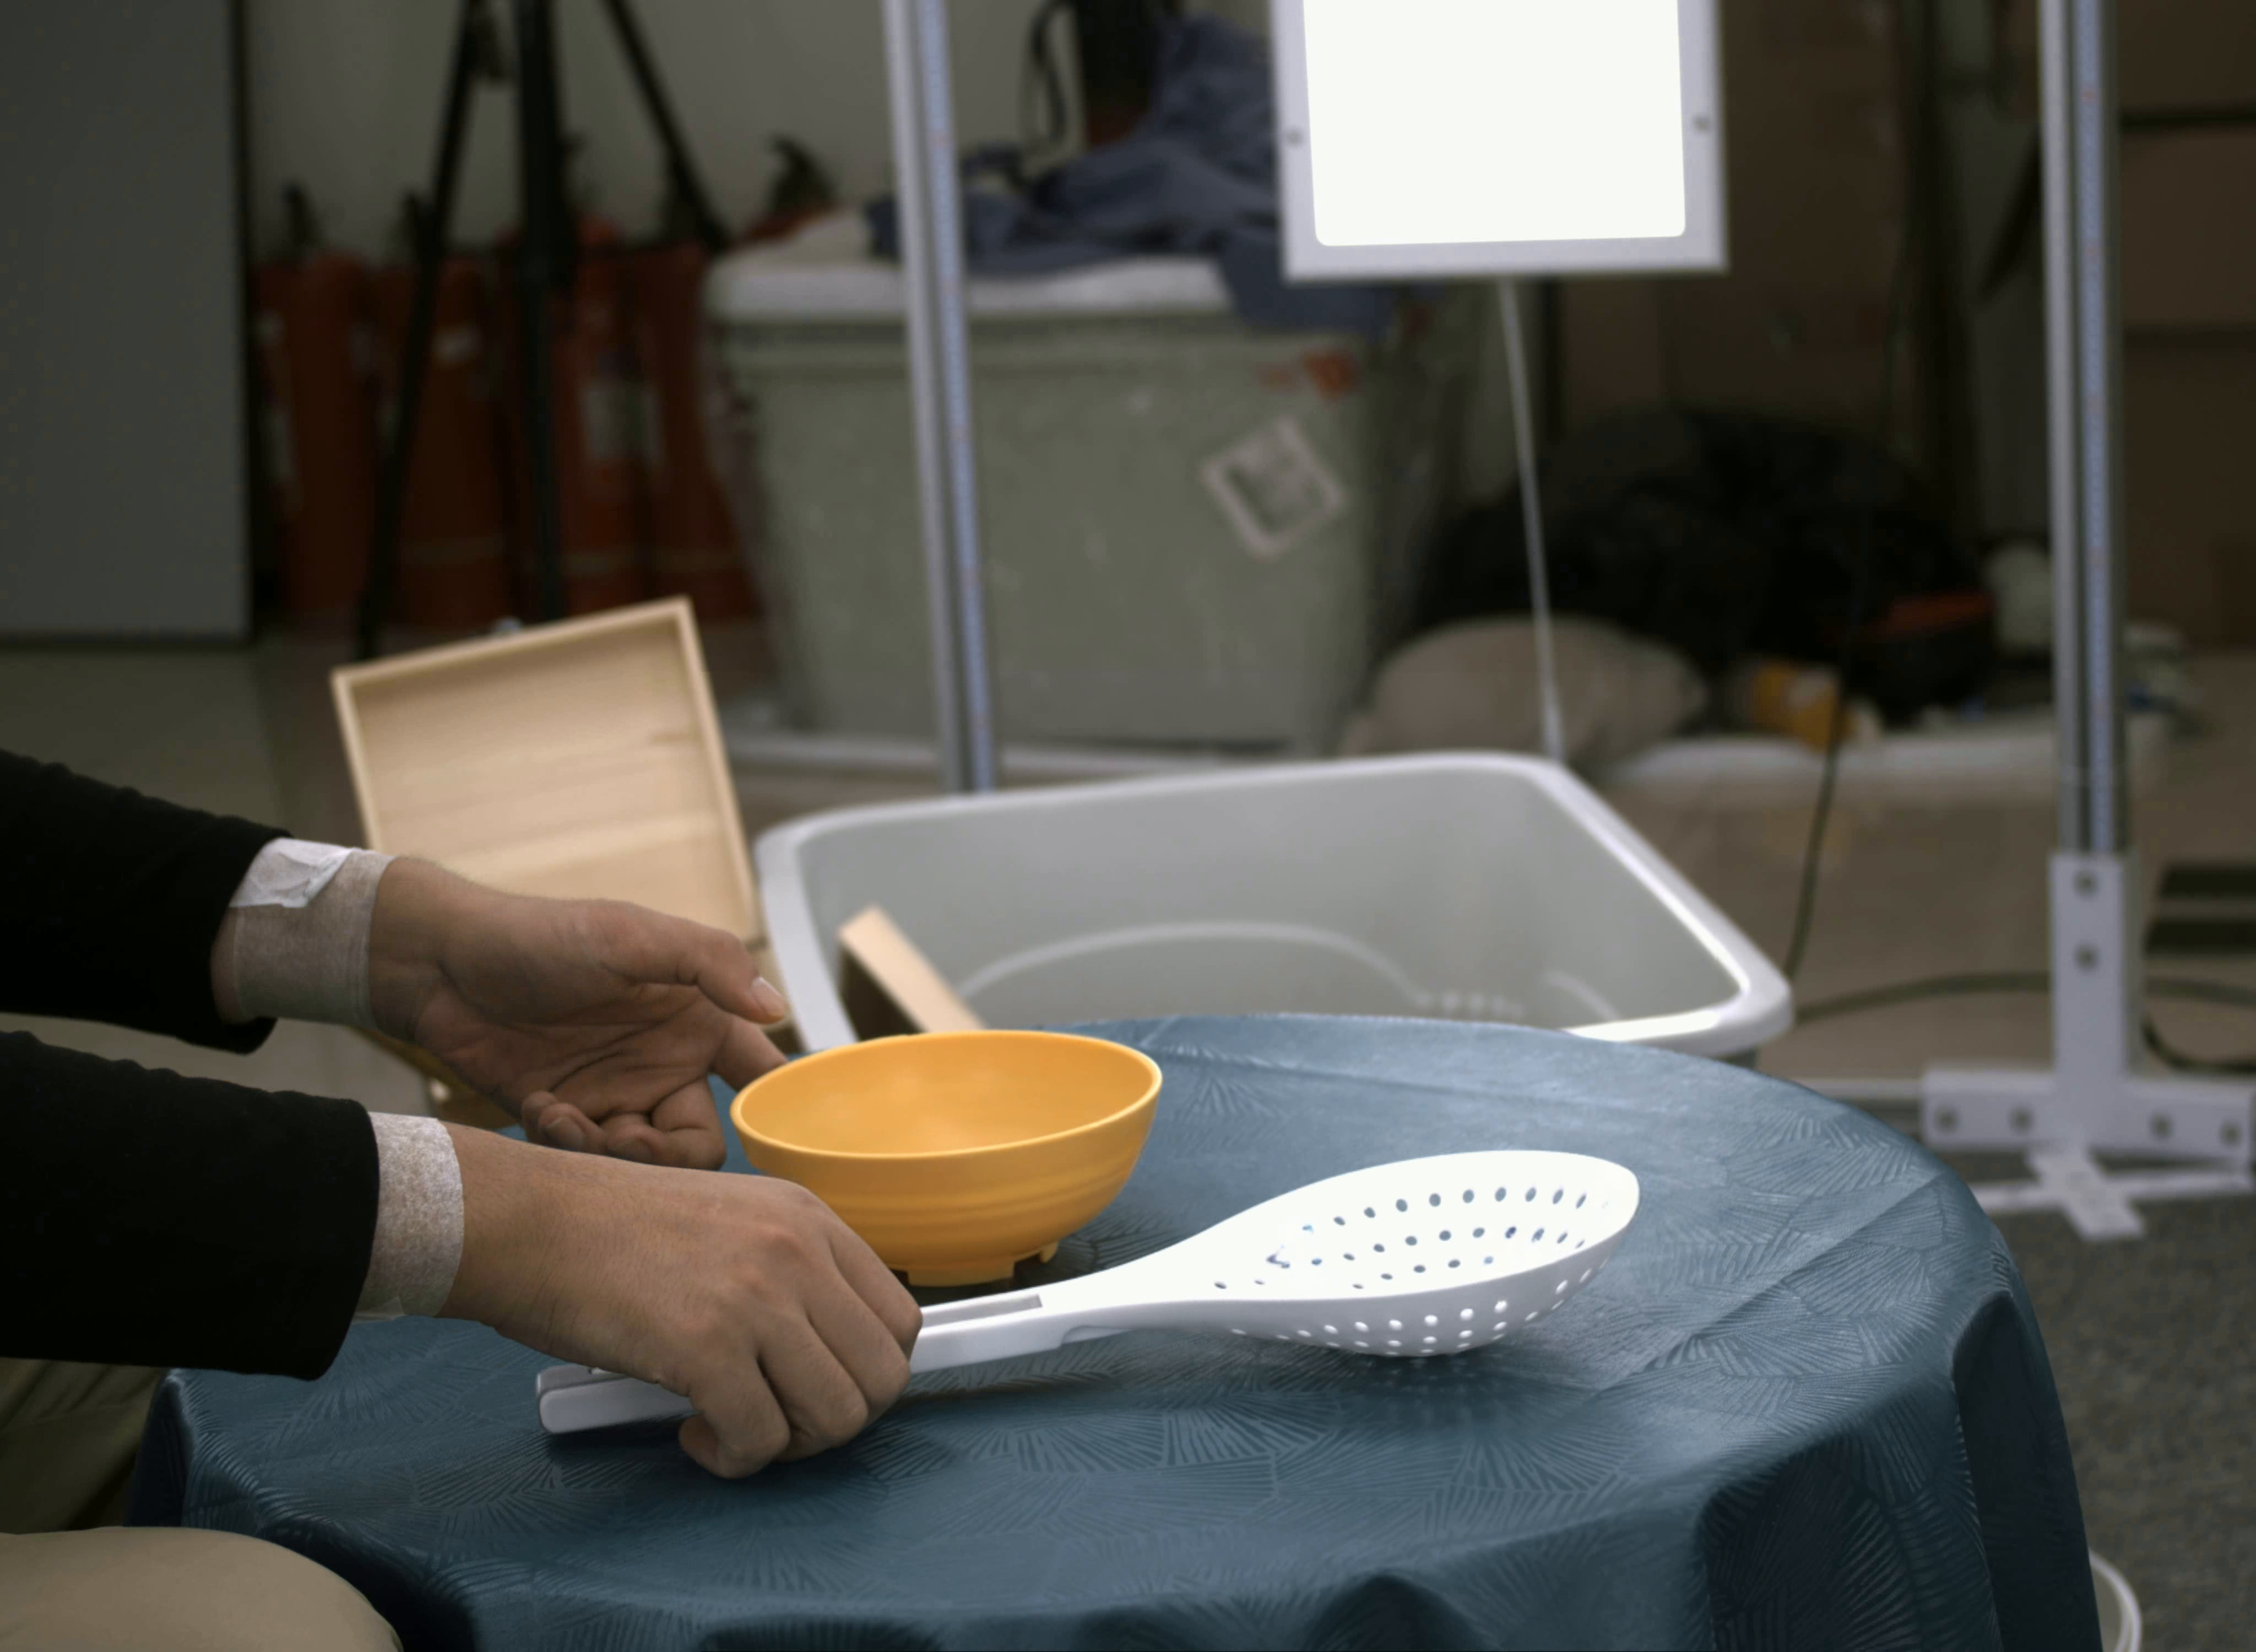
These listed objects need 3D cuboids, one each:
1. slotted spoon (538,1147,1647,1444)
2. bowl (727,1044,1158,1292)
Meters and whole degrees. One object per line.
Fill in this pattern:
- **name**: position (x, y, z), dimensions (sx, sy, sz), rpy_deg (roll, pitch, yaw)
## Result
- **slotted spoon**: position (-0.010, 0.149, 1.709), dimensions (0.348, 0.046, 0.136), rpy_deg (-6, 13, -3)
- **bowl**: position (-0.060, 0.118, 1.839), dimensions (0.145, 0.060, 0.145), rpy_deg (-4, 12, -1)
